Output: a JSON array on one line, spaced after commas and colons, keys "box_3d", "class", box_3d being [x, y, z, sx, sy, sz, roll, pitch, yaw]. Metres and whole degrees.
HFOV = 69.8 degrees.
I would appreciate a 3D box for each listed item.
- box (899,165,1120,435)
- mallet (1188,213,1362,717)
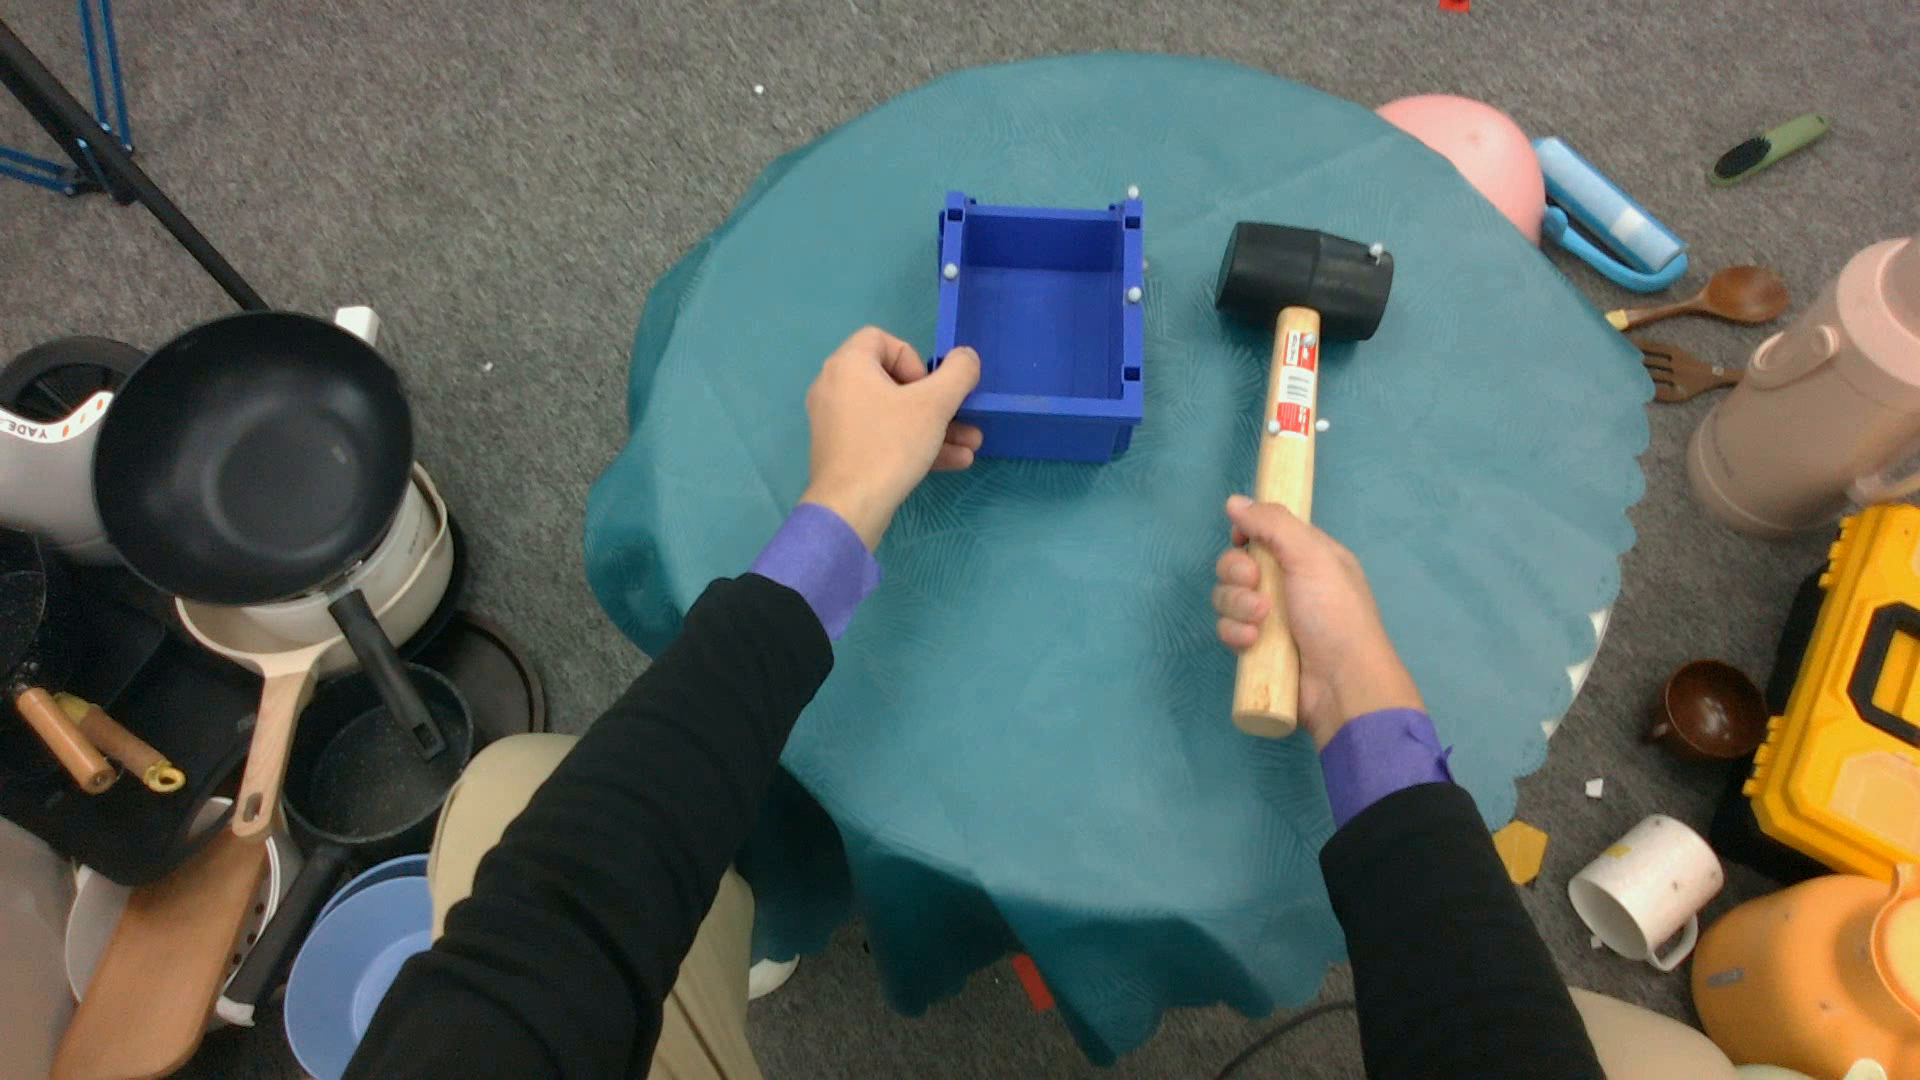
[{"box_3d": [0.031, -0.154, 0.847, 0.124, 0.081, 0.180, 4, 68, 1], "class": "box"}, {"box_3d": [0.173, -0.060, 0.790, 0.102, 0.064, 0.340, 9, 55, 6], "class": "mallet"}]
